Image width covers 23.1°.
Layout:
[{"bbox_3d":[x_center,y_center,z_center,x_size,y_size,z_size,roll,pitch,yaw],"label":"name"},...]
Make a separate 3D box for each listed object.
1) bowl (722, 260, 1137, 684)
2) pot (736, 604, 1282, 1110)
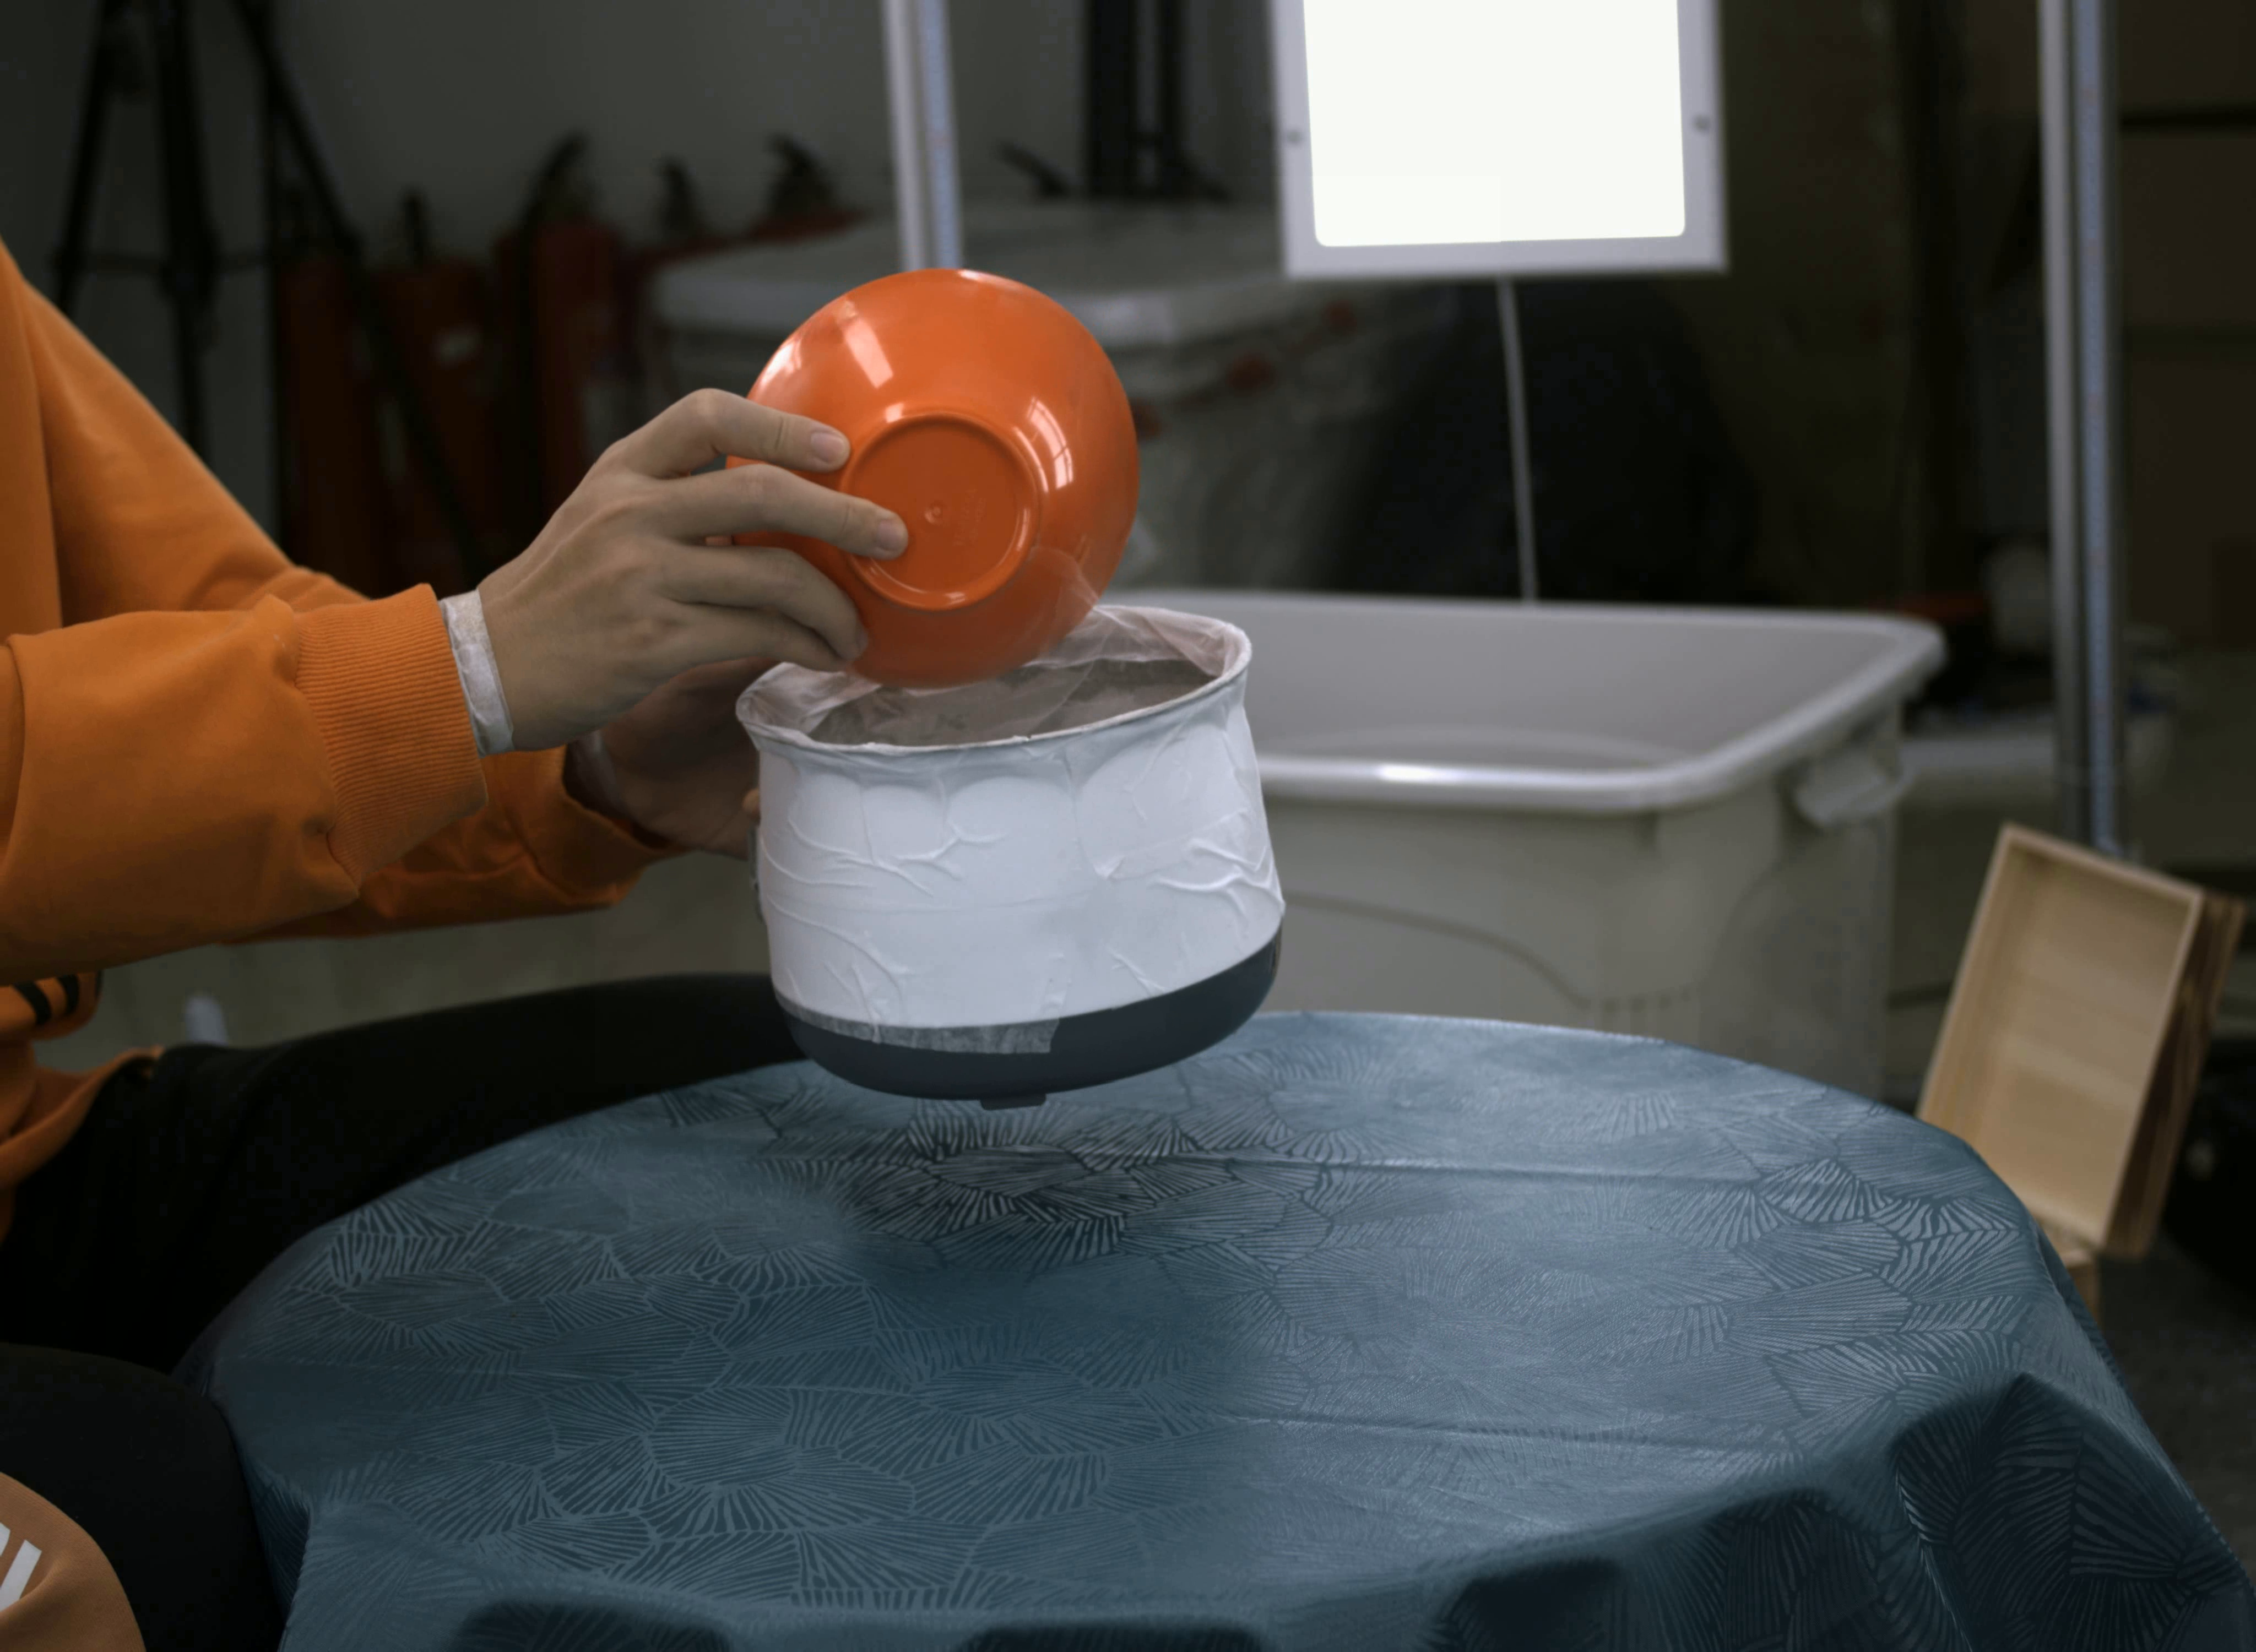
[{"bbox_3d":[-0.060,-0.113,1.850,0.147,0.148,0.105,-6,13,-7],"label":"bowl"},{"bbox_3d":[-0.056,0.005,1.901,0.174,0.137,0.238,-19,20,-36],"label":"pot"}]
